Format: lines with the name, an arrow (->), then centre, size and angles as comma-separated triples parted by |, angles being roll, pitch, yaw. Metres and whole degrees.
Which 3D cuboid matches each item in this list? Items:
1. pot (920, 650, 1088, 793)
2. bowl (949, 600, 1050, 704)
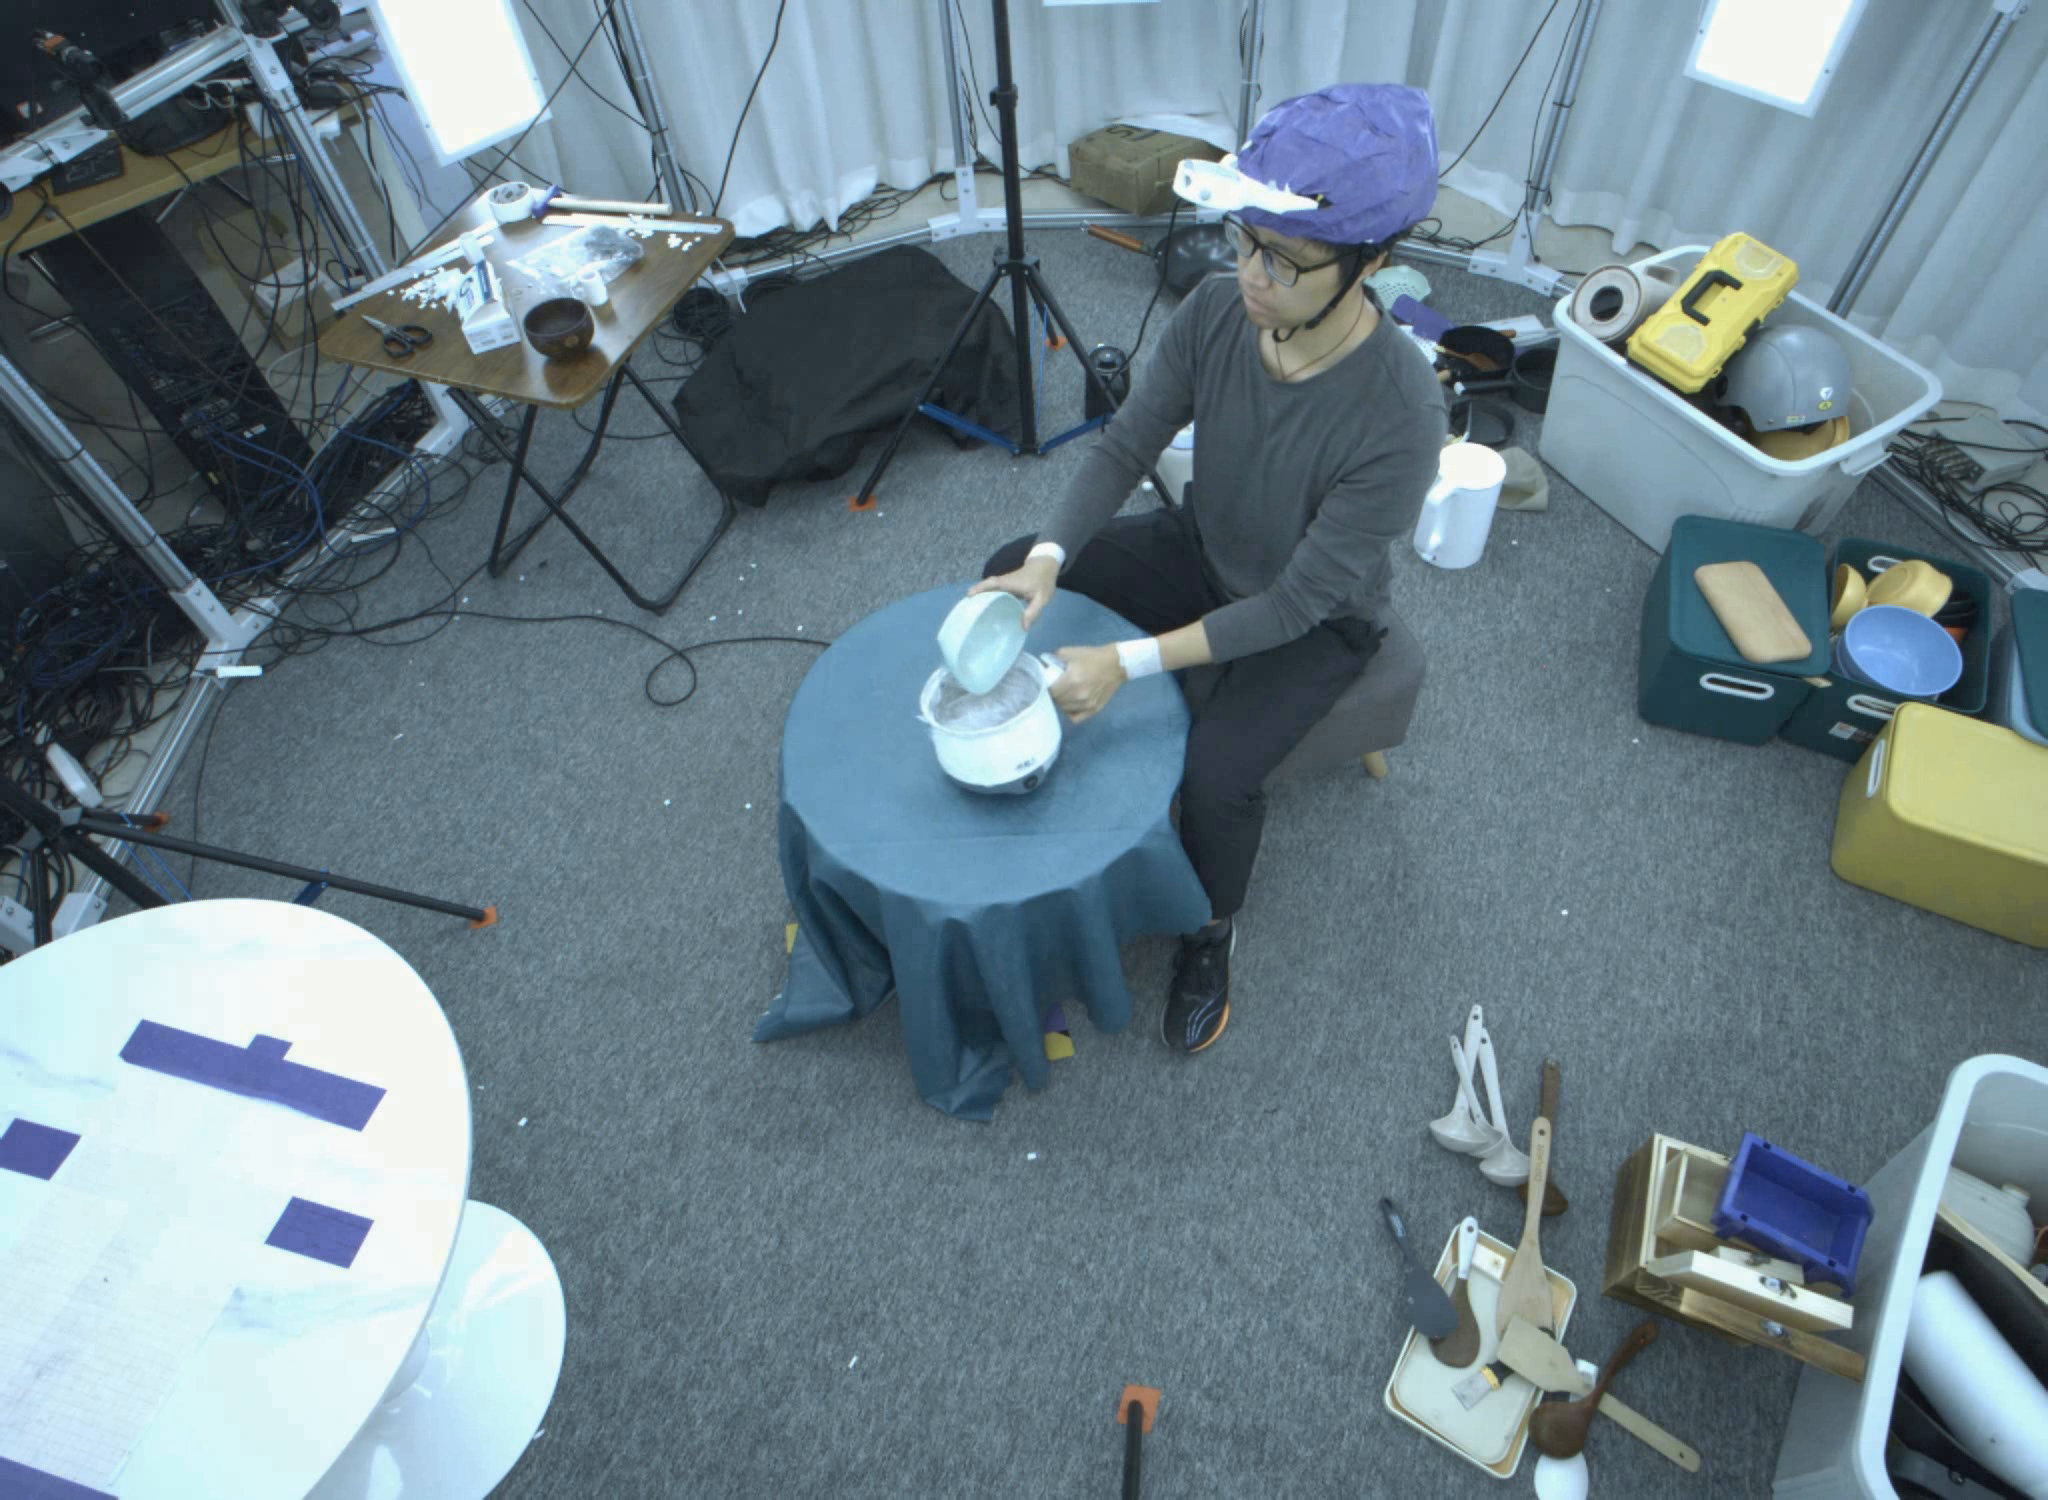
pot -> -0.020, -0.052, 1.731 | 0.235, 0.139, 0.174 | -30, 46, -15
bowl -> -0.043, -0.142, 1.666 | 0.152, 0.154, 0.057 | -28, 42, -17
